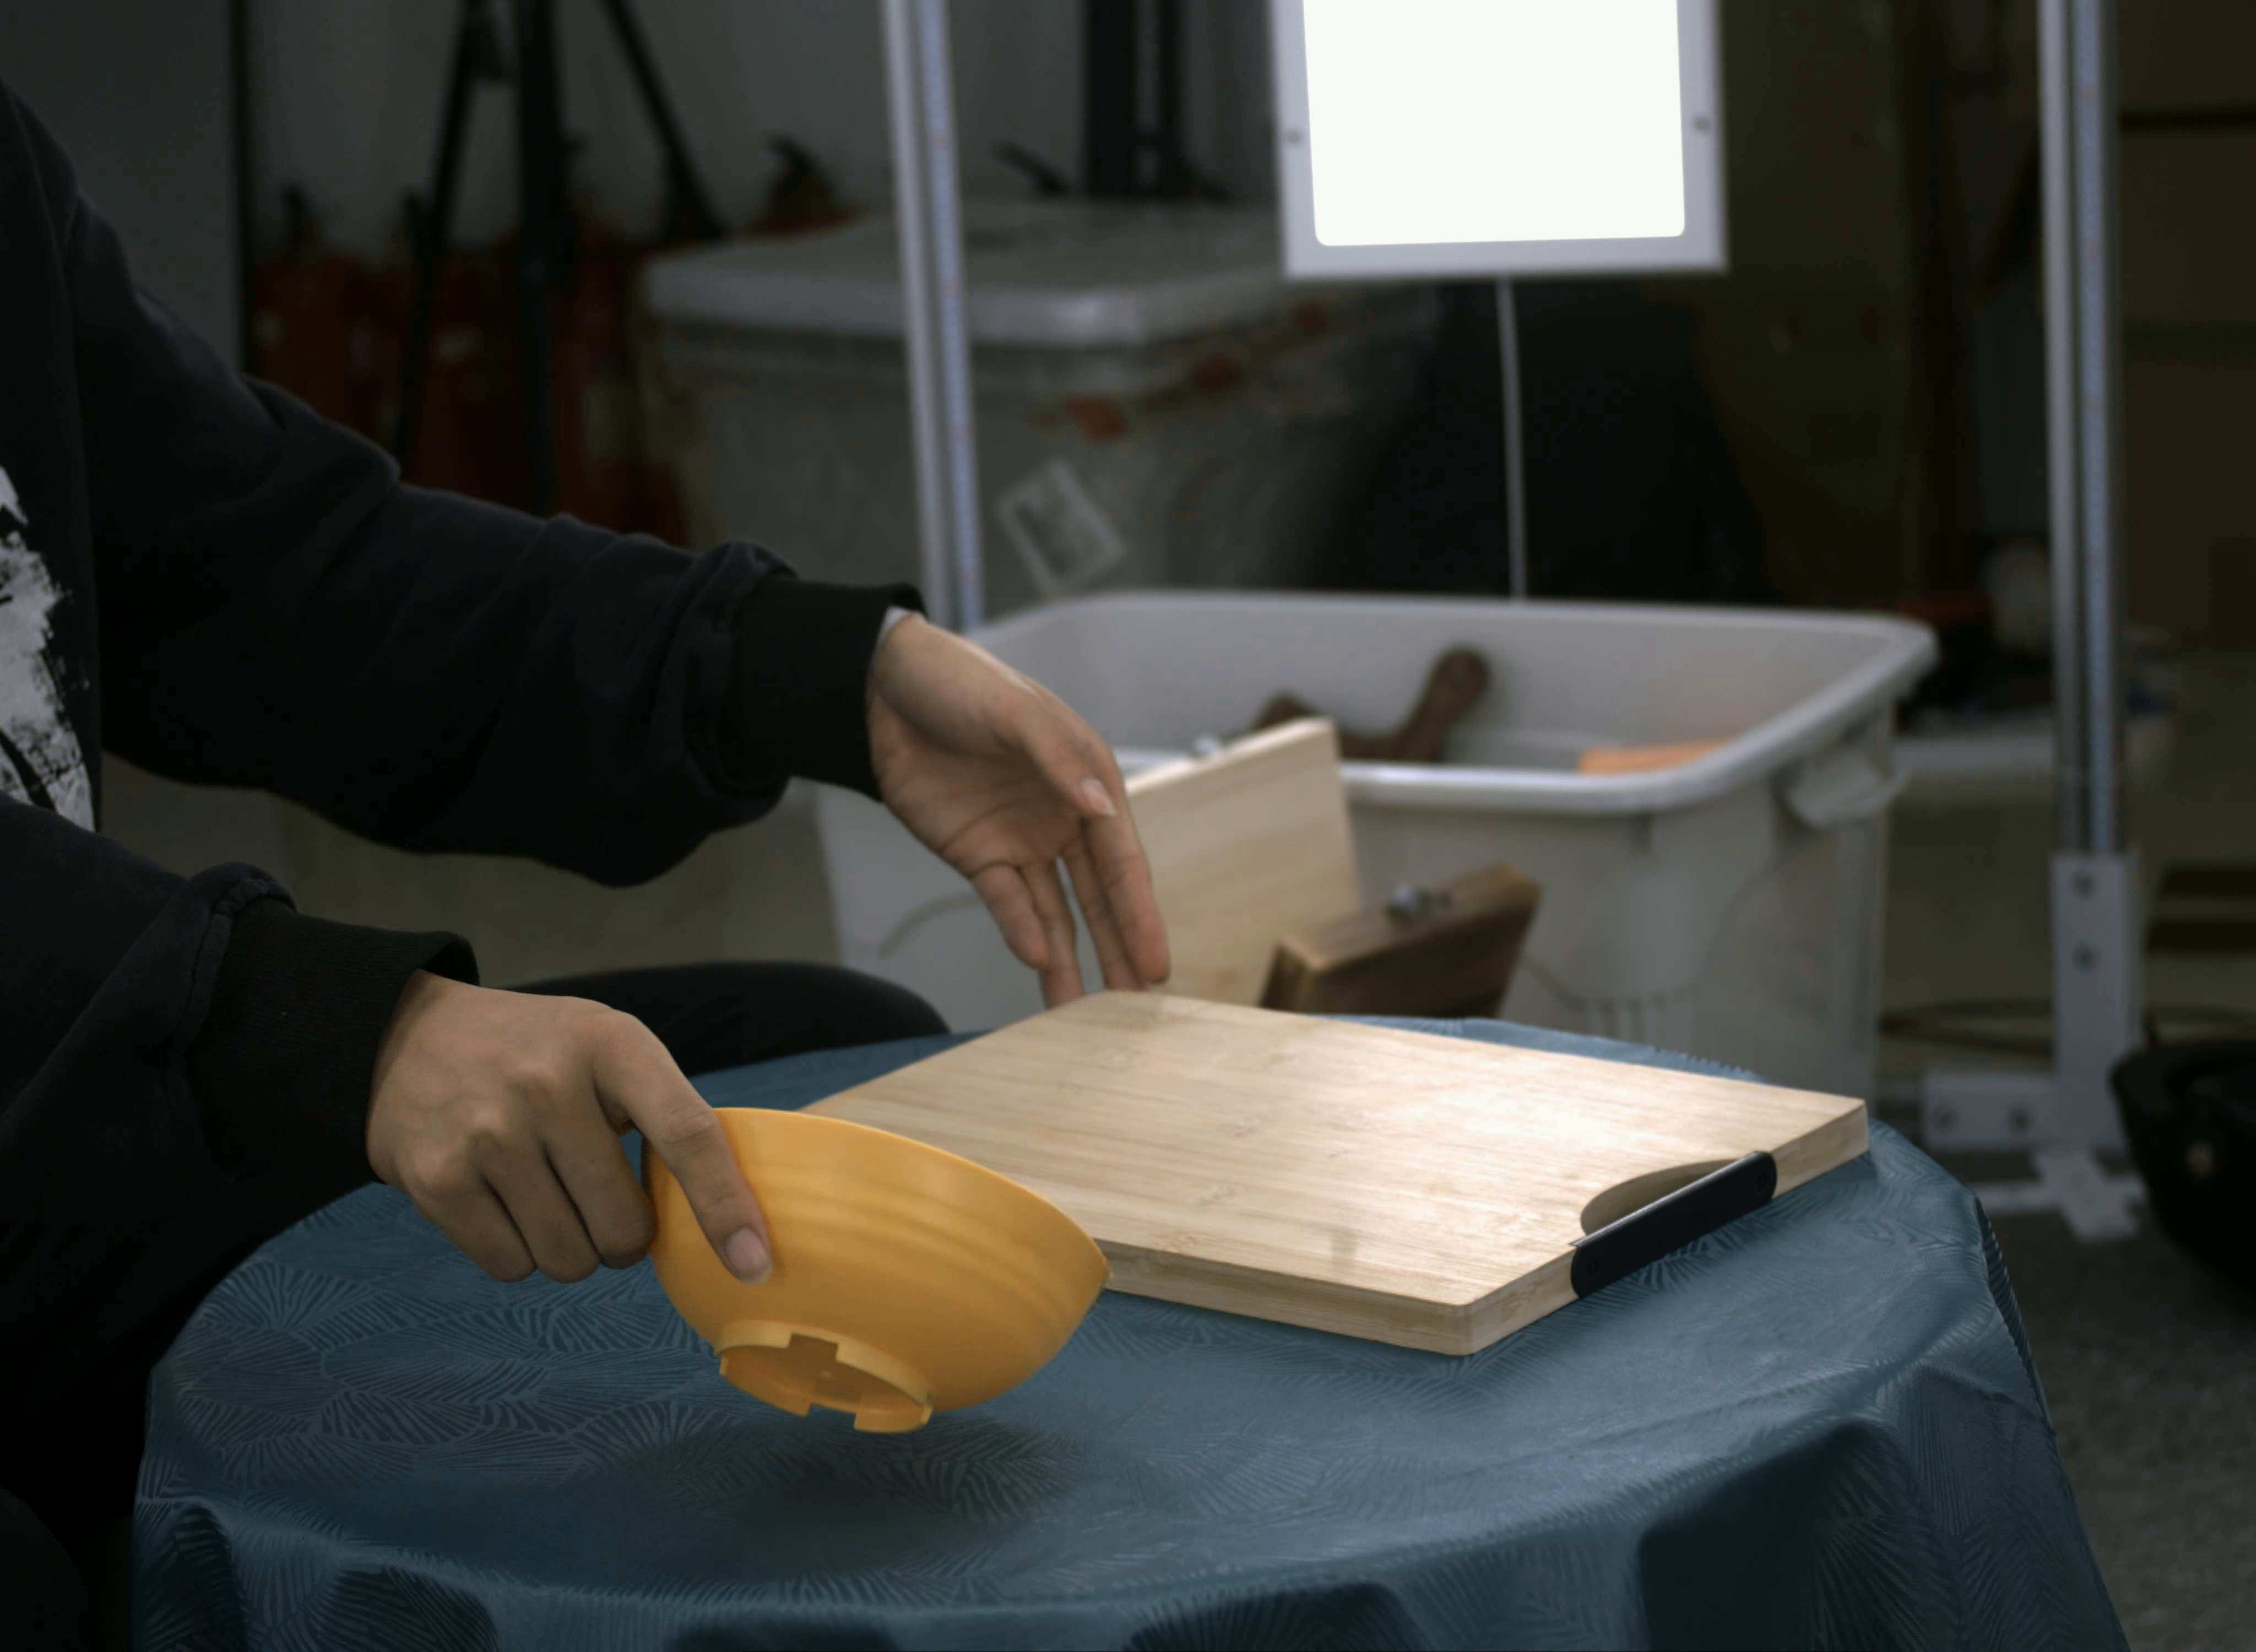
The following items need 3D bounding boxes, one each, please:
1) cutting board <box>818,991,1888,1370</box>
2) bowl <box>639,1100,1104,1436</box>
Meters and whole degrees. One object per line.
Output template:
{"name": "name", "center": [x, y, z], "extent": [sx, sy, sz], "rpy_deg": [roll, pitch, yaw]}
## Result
{"name": "cutting board", "center": [0.053, 0.115, 1.892], "extent": [0.356, 0.023, 0.244], "rpy_deg": [7, 18, 39]}
{"name": "bowl", "center": [-0.083, 0.140, 1.627], "extent": [0.145, 0.060, 0.146], "rpy_deg": [14, -25, 5]}
